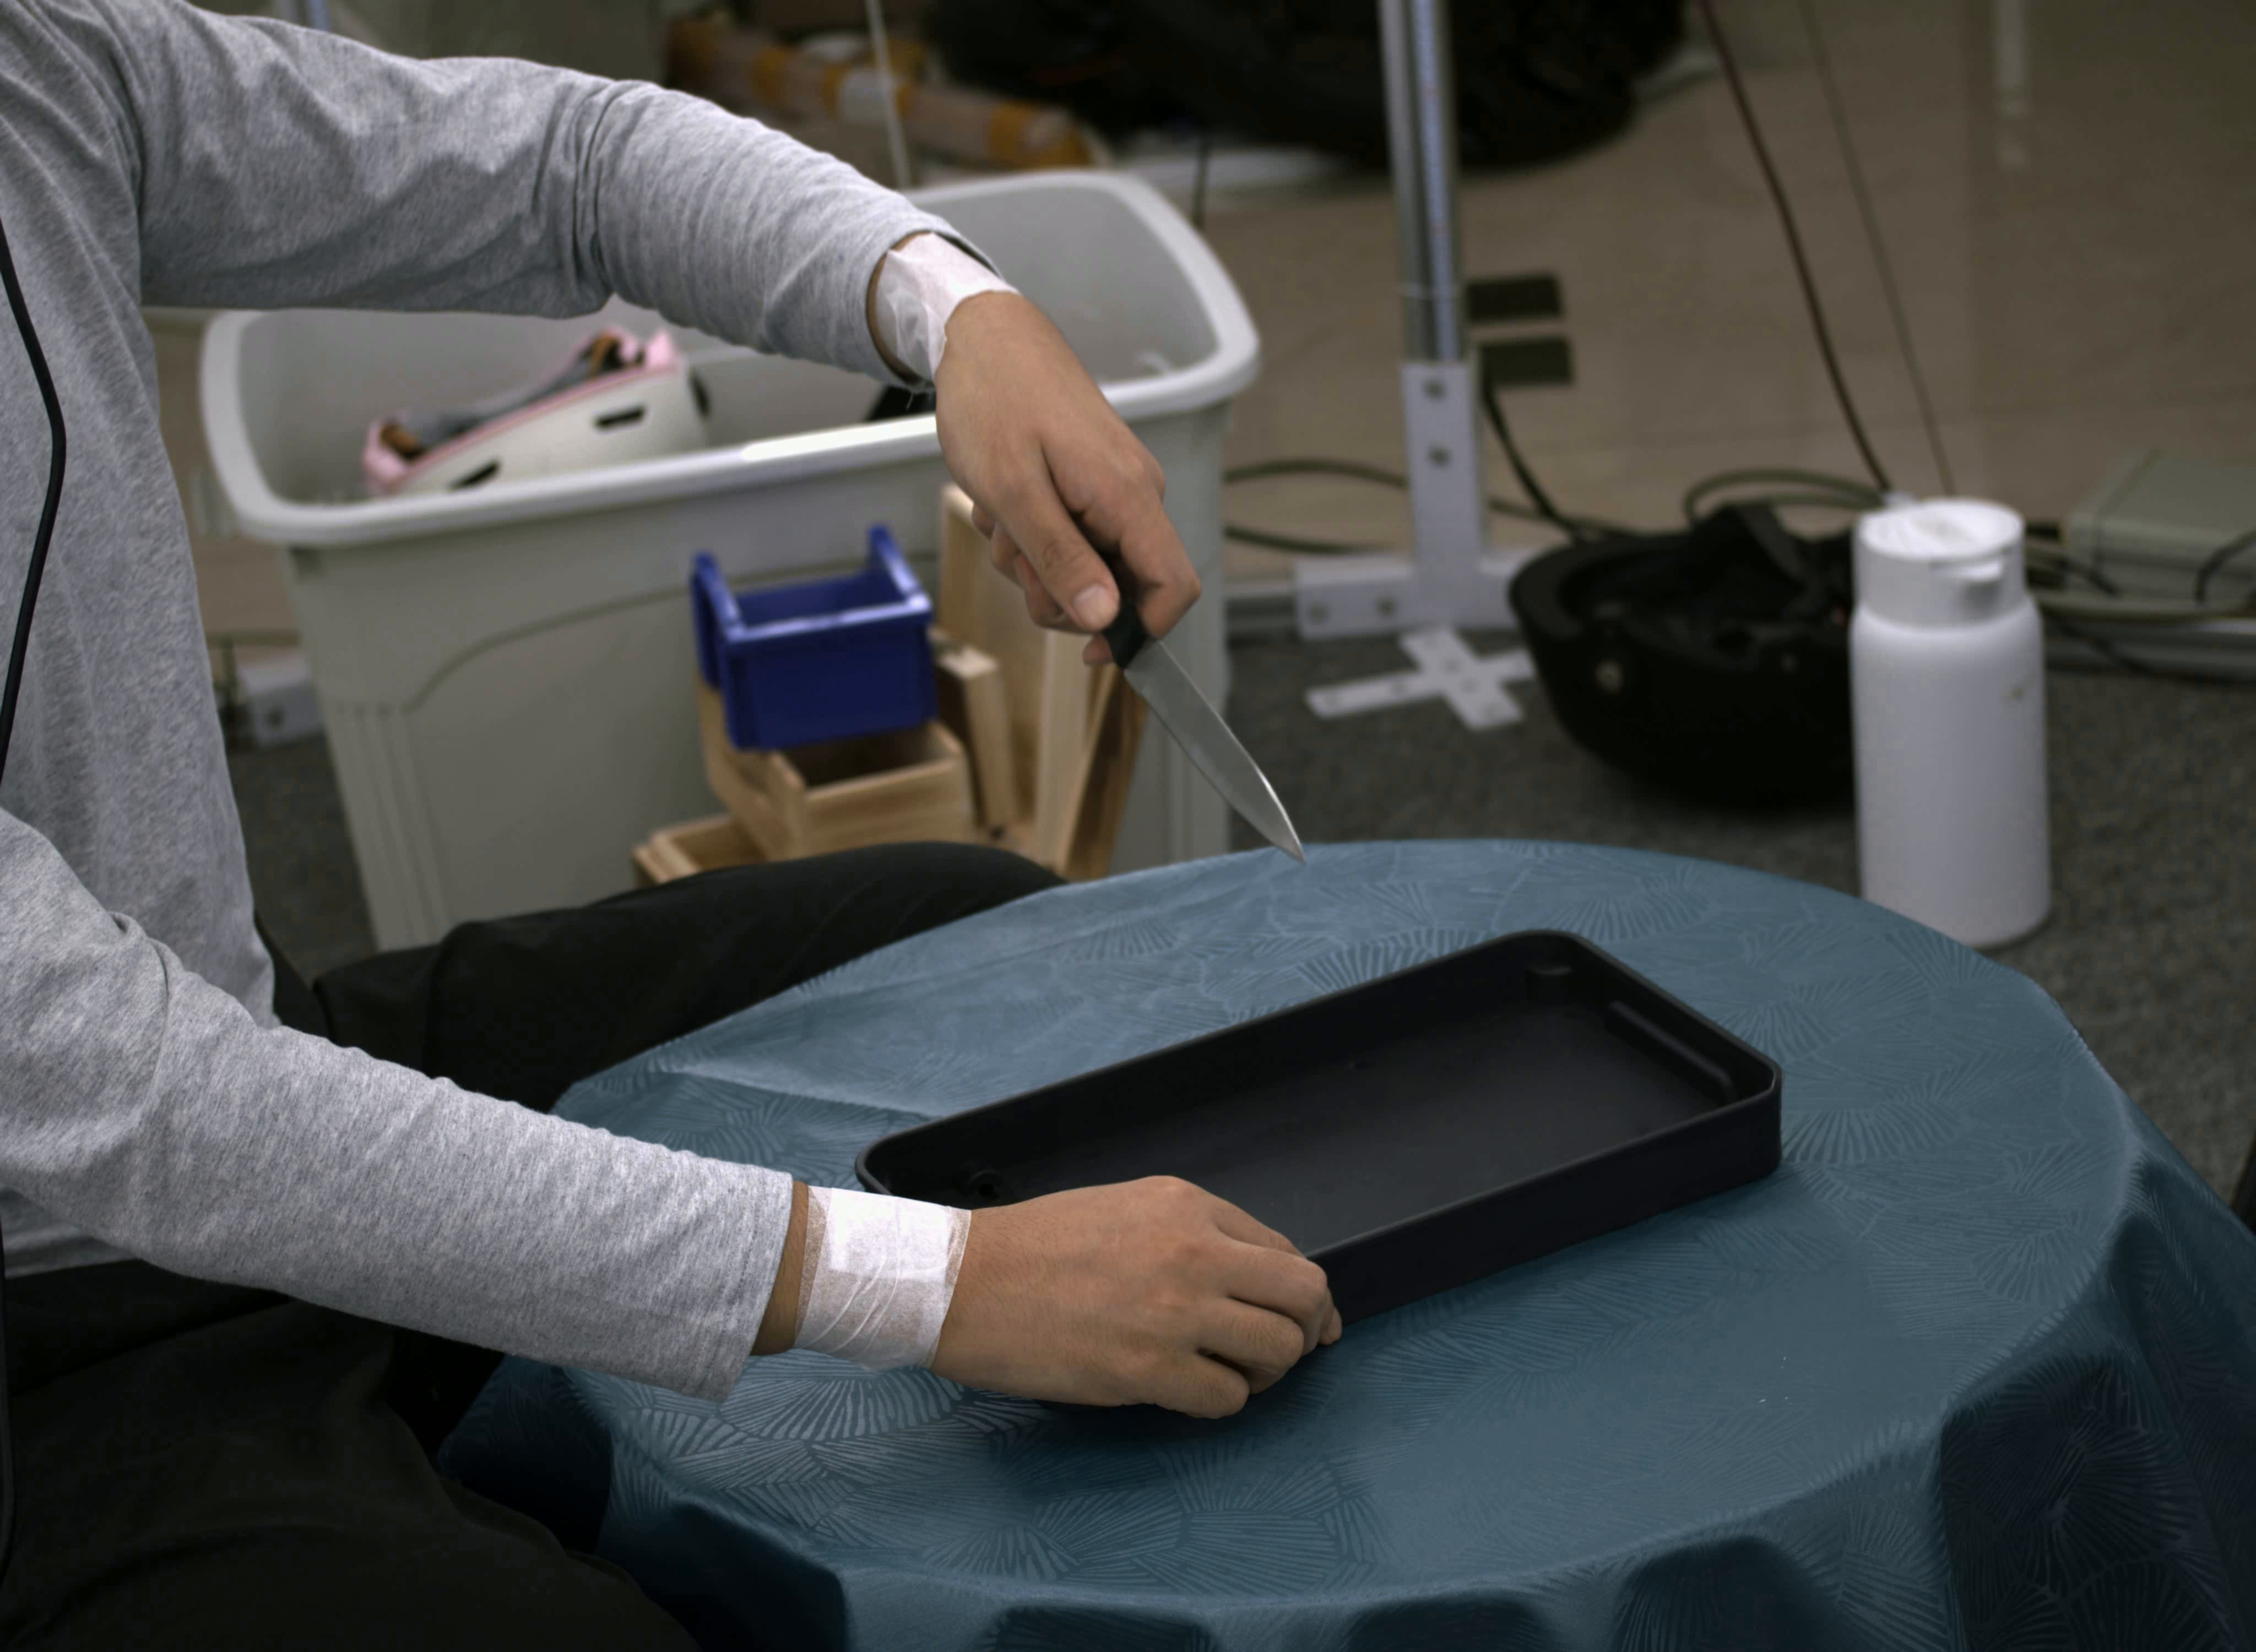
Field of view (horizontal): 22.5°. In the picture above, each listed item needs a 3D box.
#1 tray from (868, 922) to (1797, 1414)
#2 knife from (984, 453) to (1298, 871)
[{"bbox_3d":[0.077,0.123,2.125,0.316,0.037,0.182,-19,27,-23],"label":"tray"},{"bbox_3d":[0.007,-0.064,2.097,0.016,0.025,0.234,3,40,-41],"label":"knife"}]
